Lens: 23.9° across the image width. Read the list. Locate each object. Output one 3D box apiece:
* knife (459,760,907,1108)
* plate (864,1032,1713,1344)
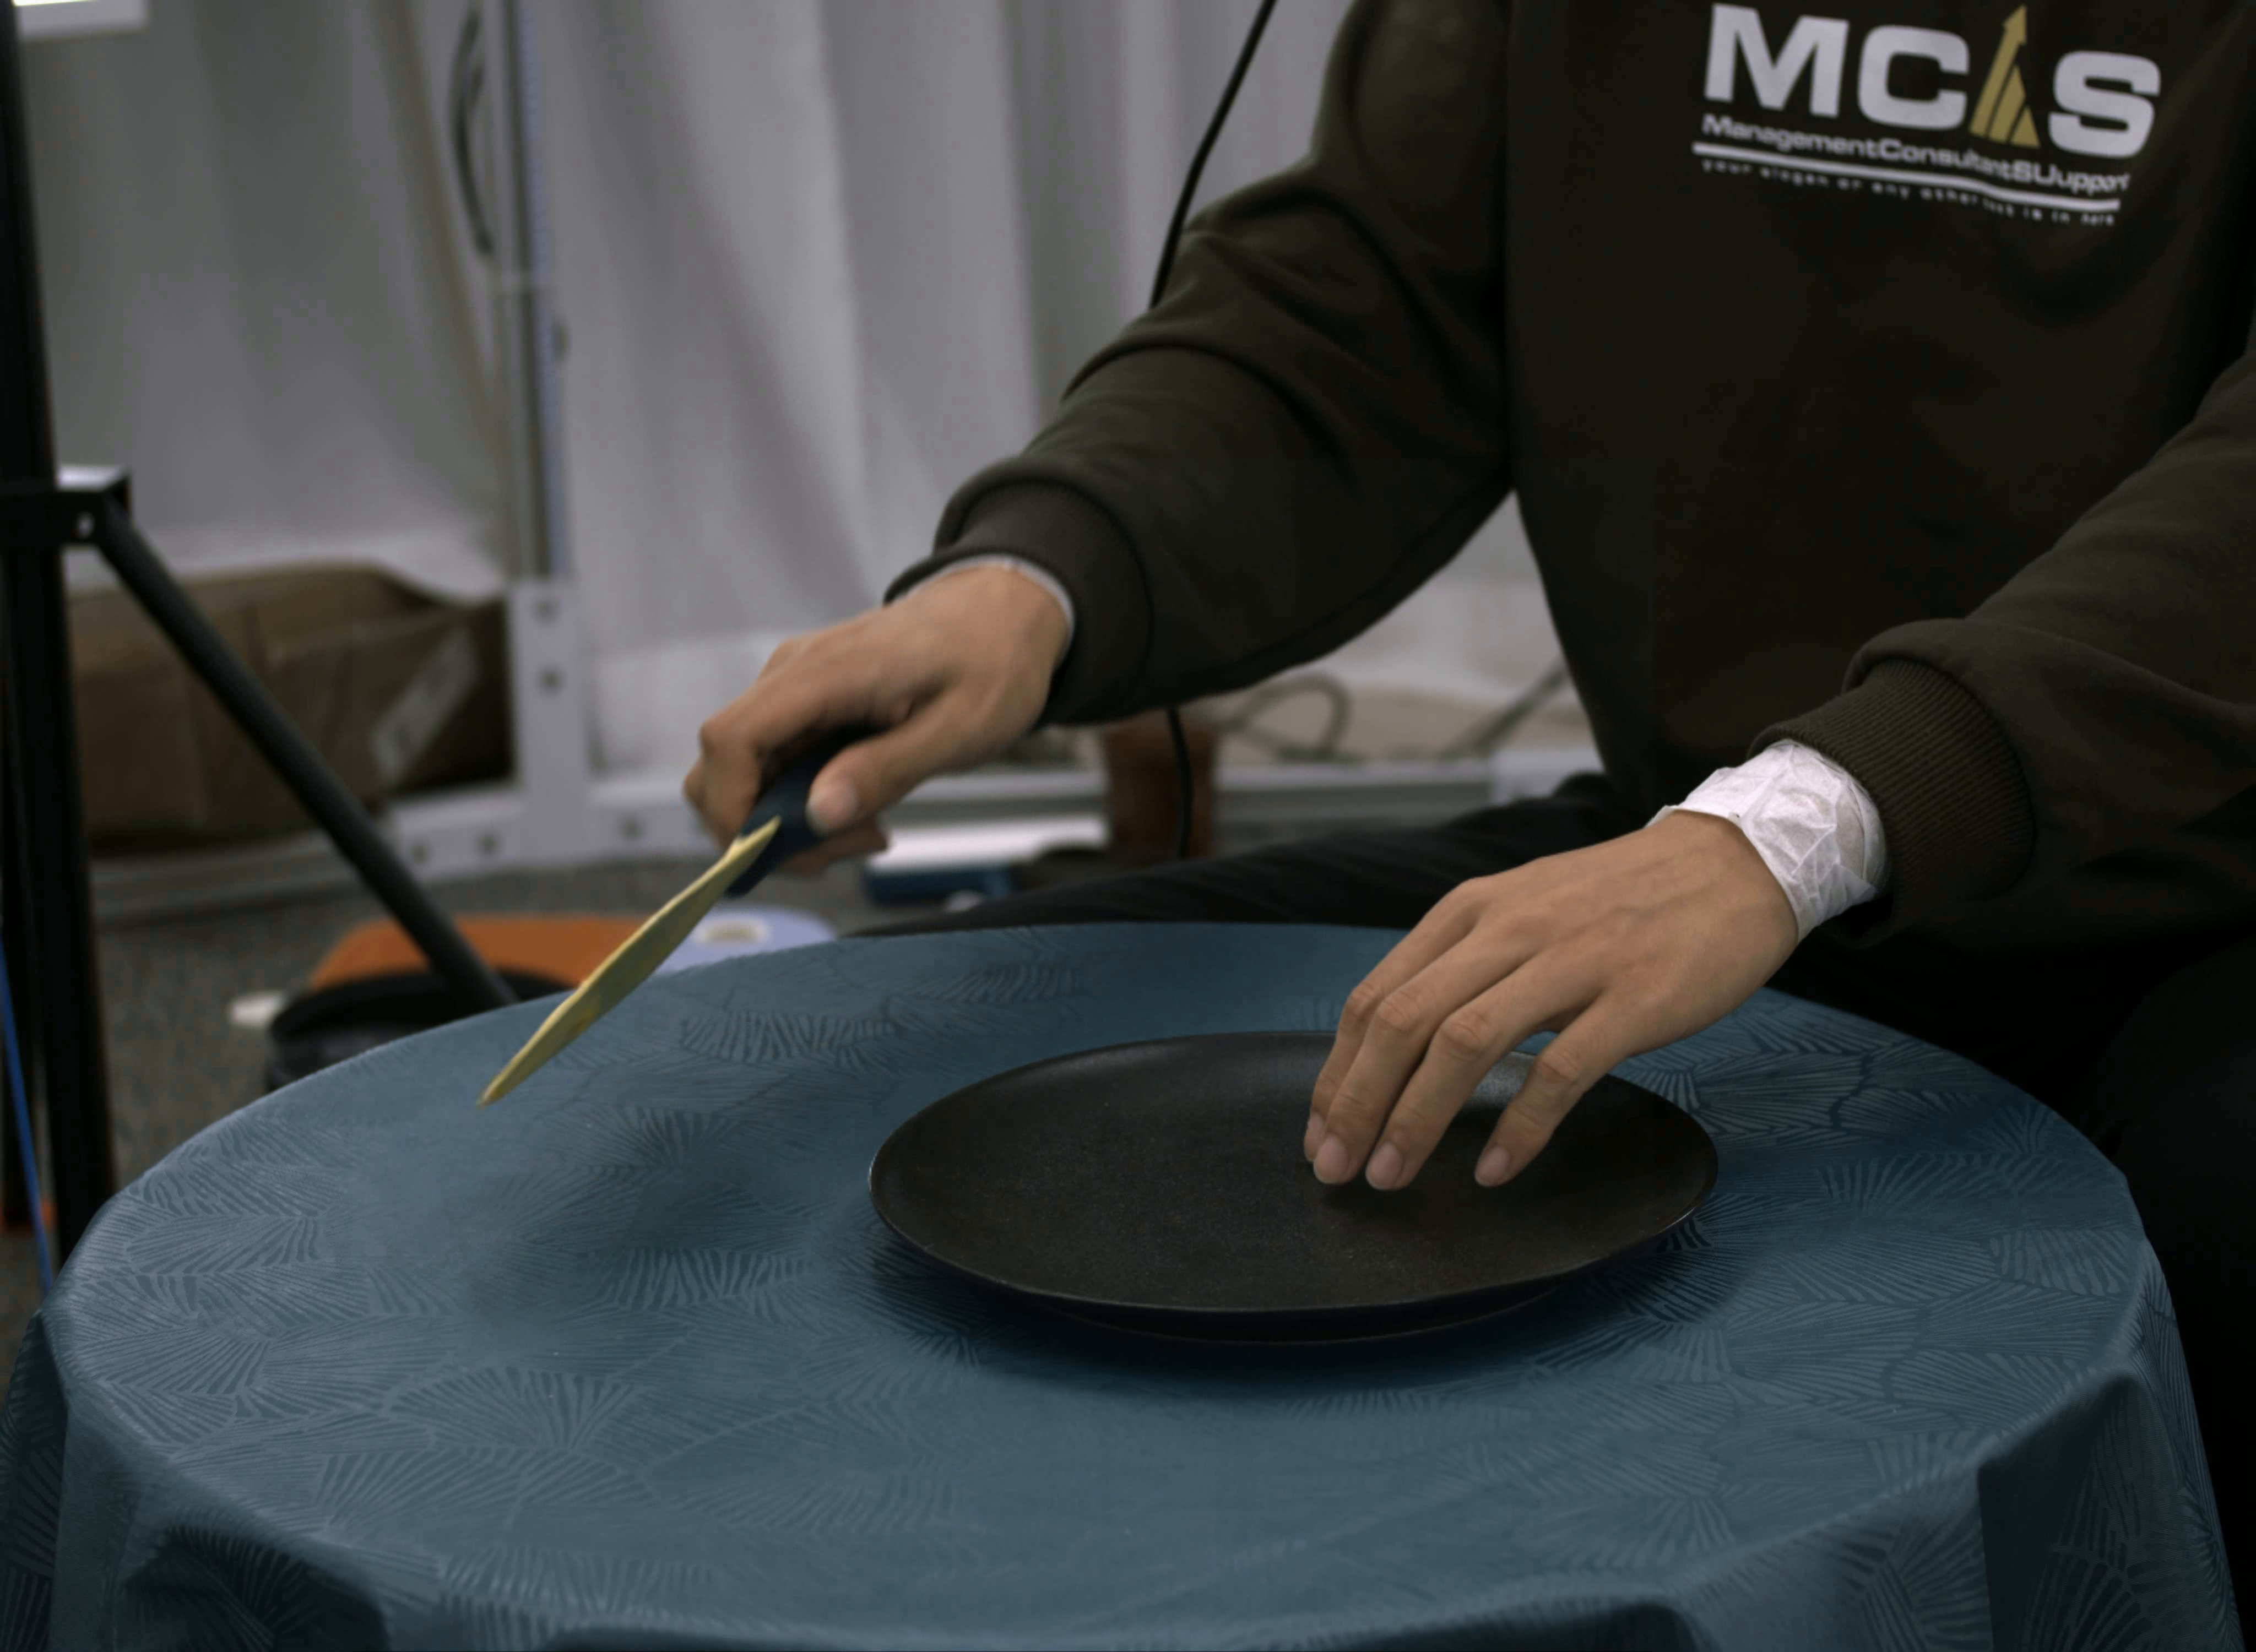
[{"bbox_3d":[-0.134,0.031,1.638,0.082,0.027,0.286,-44,-2,26],"label":"knife"},{"bbox_3d":[0.046,0.106,1.520,0.243,0.023,0.245,-3,16,-1],"label":"plate"}]
